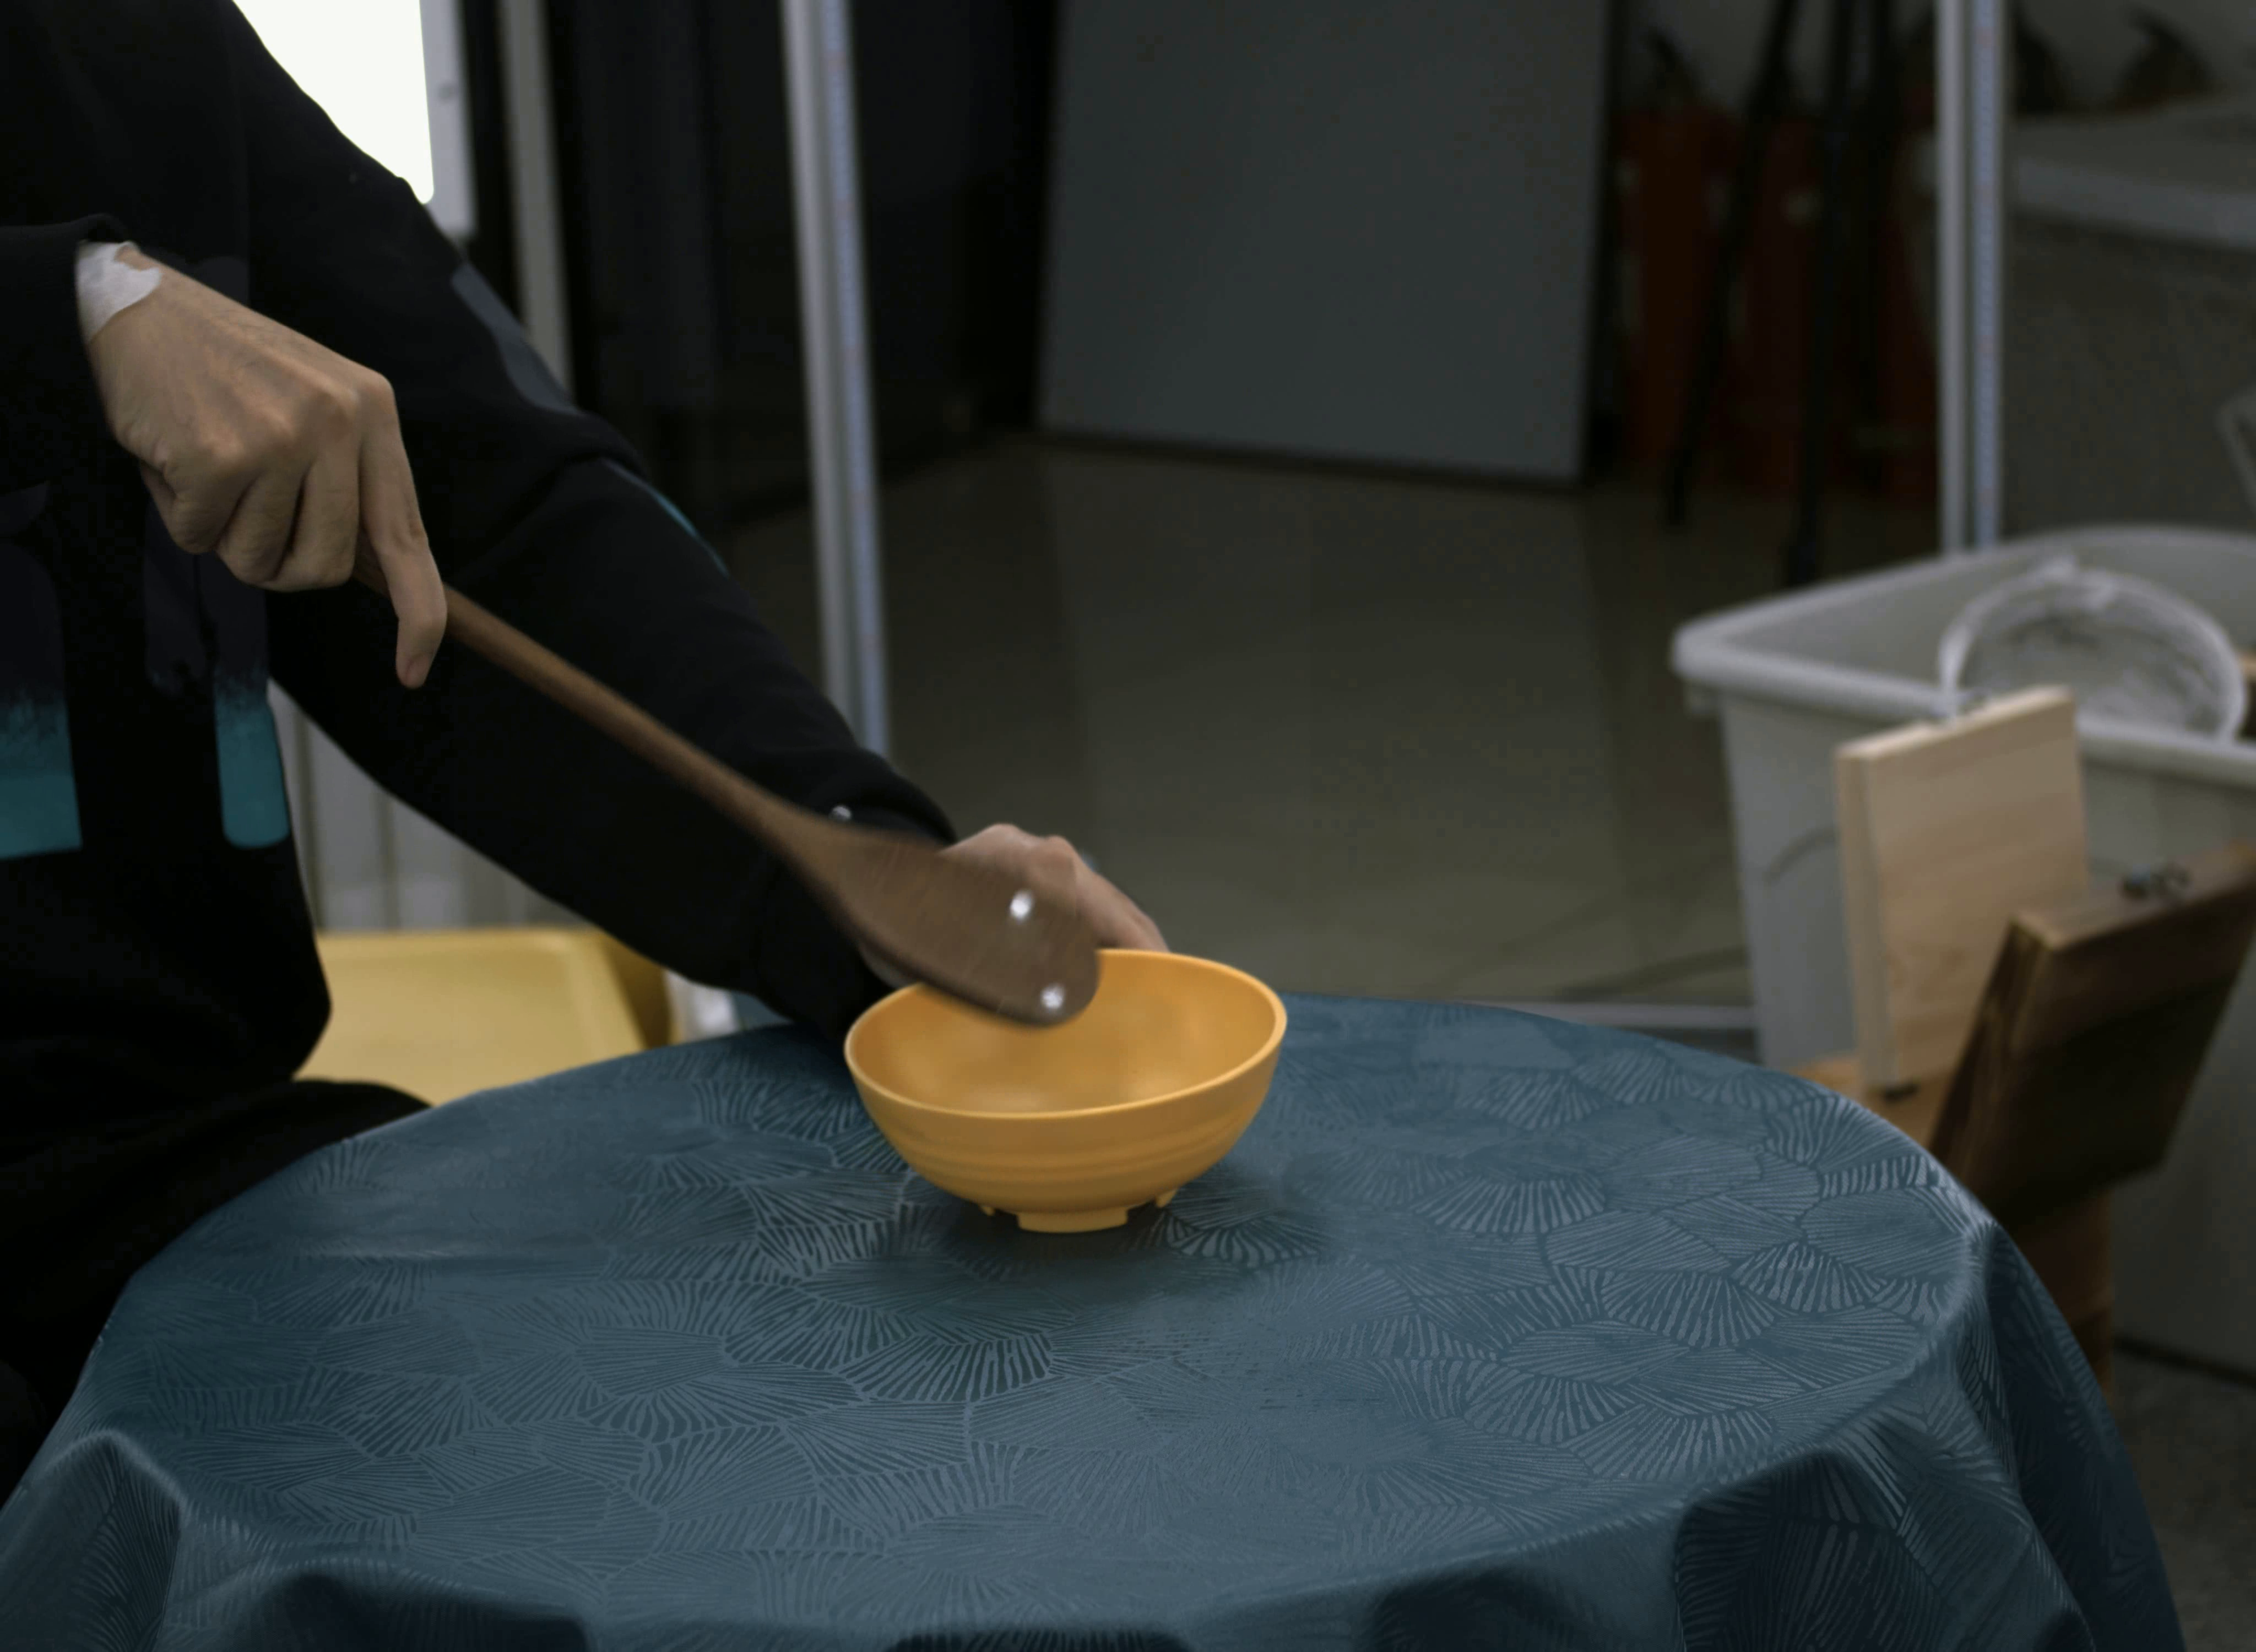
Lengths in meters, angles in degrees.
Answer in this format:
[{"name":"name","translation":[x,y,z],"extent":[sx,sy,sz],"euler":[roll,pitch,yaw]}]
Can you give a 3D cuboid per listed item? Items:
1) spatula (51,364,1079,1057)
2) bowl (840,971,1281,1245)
[{"name":"spatula","translation":[-0.177,-0.040,1.721],"extent":[0.383,0.016,0.096],"euler":[34,22,-2]},{"name":"bowl","translation":[-0.021,0.097,1.750],"extent":[0.143,0.061,0.145],"euler":[-3,16,0]}]
